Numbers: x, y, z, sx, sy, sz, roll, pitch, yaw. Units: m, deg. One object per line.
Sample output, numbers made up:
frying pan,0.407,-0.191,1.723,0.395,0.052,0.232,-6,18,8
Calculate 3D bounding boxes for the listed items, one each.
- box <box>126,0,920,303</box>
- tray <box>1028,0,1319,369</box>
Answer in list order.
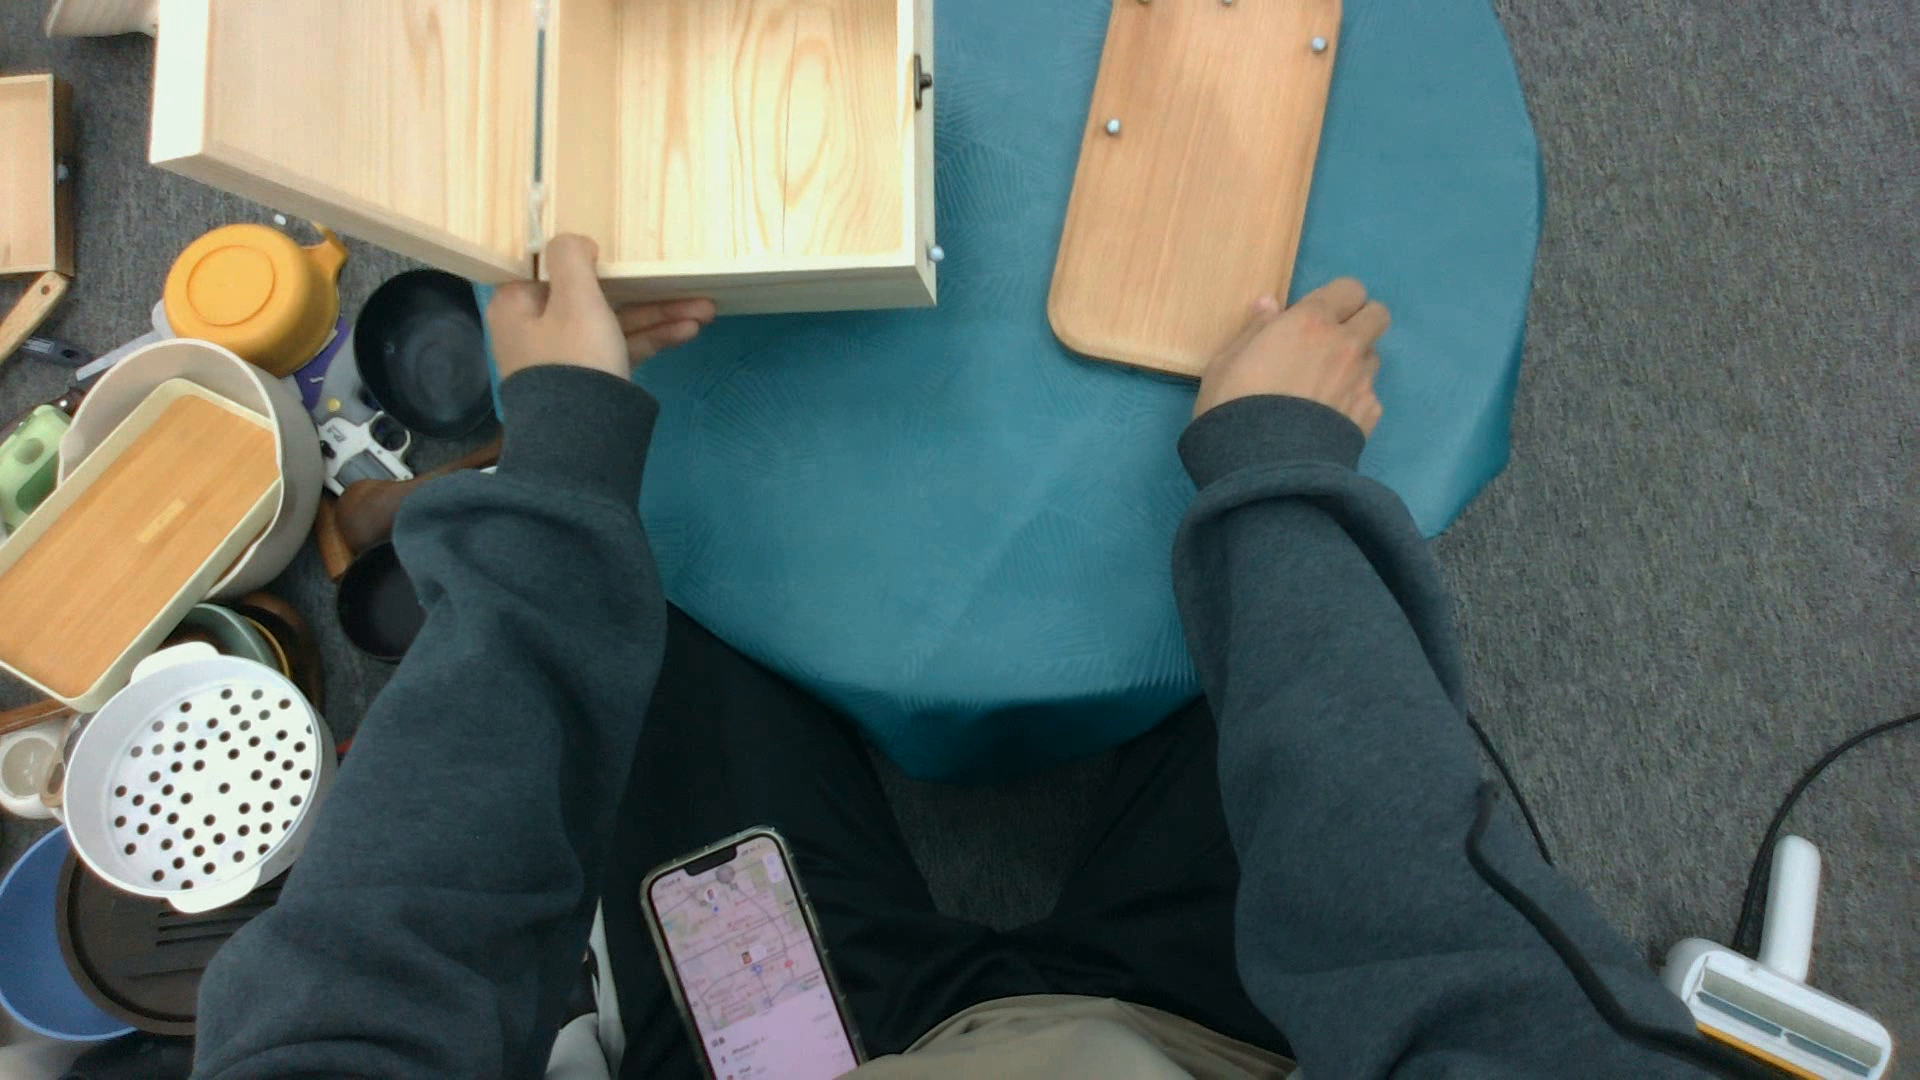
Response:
box,-0.161,-0.221,0.606,0.265,0.253,0.182,-2,88,7
tray,0.120,-0.219,0.768,0.130,0.023,0.251,11,79,7
